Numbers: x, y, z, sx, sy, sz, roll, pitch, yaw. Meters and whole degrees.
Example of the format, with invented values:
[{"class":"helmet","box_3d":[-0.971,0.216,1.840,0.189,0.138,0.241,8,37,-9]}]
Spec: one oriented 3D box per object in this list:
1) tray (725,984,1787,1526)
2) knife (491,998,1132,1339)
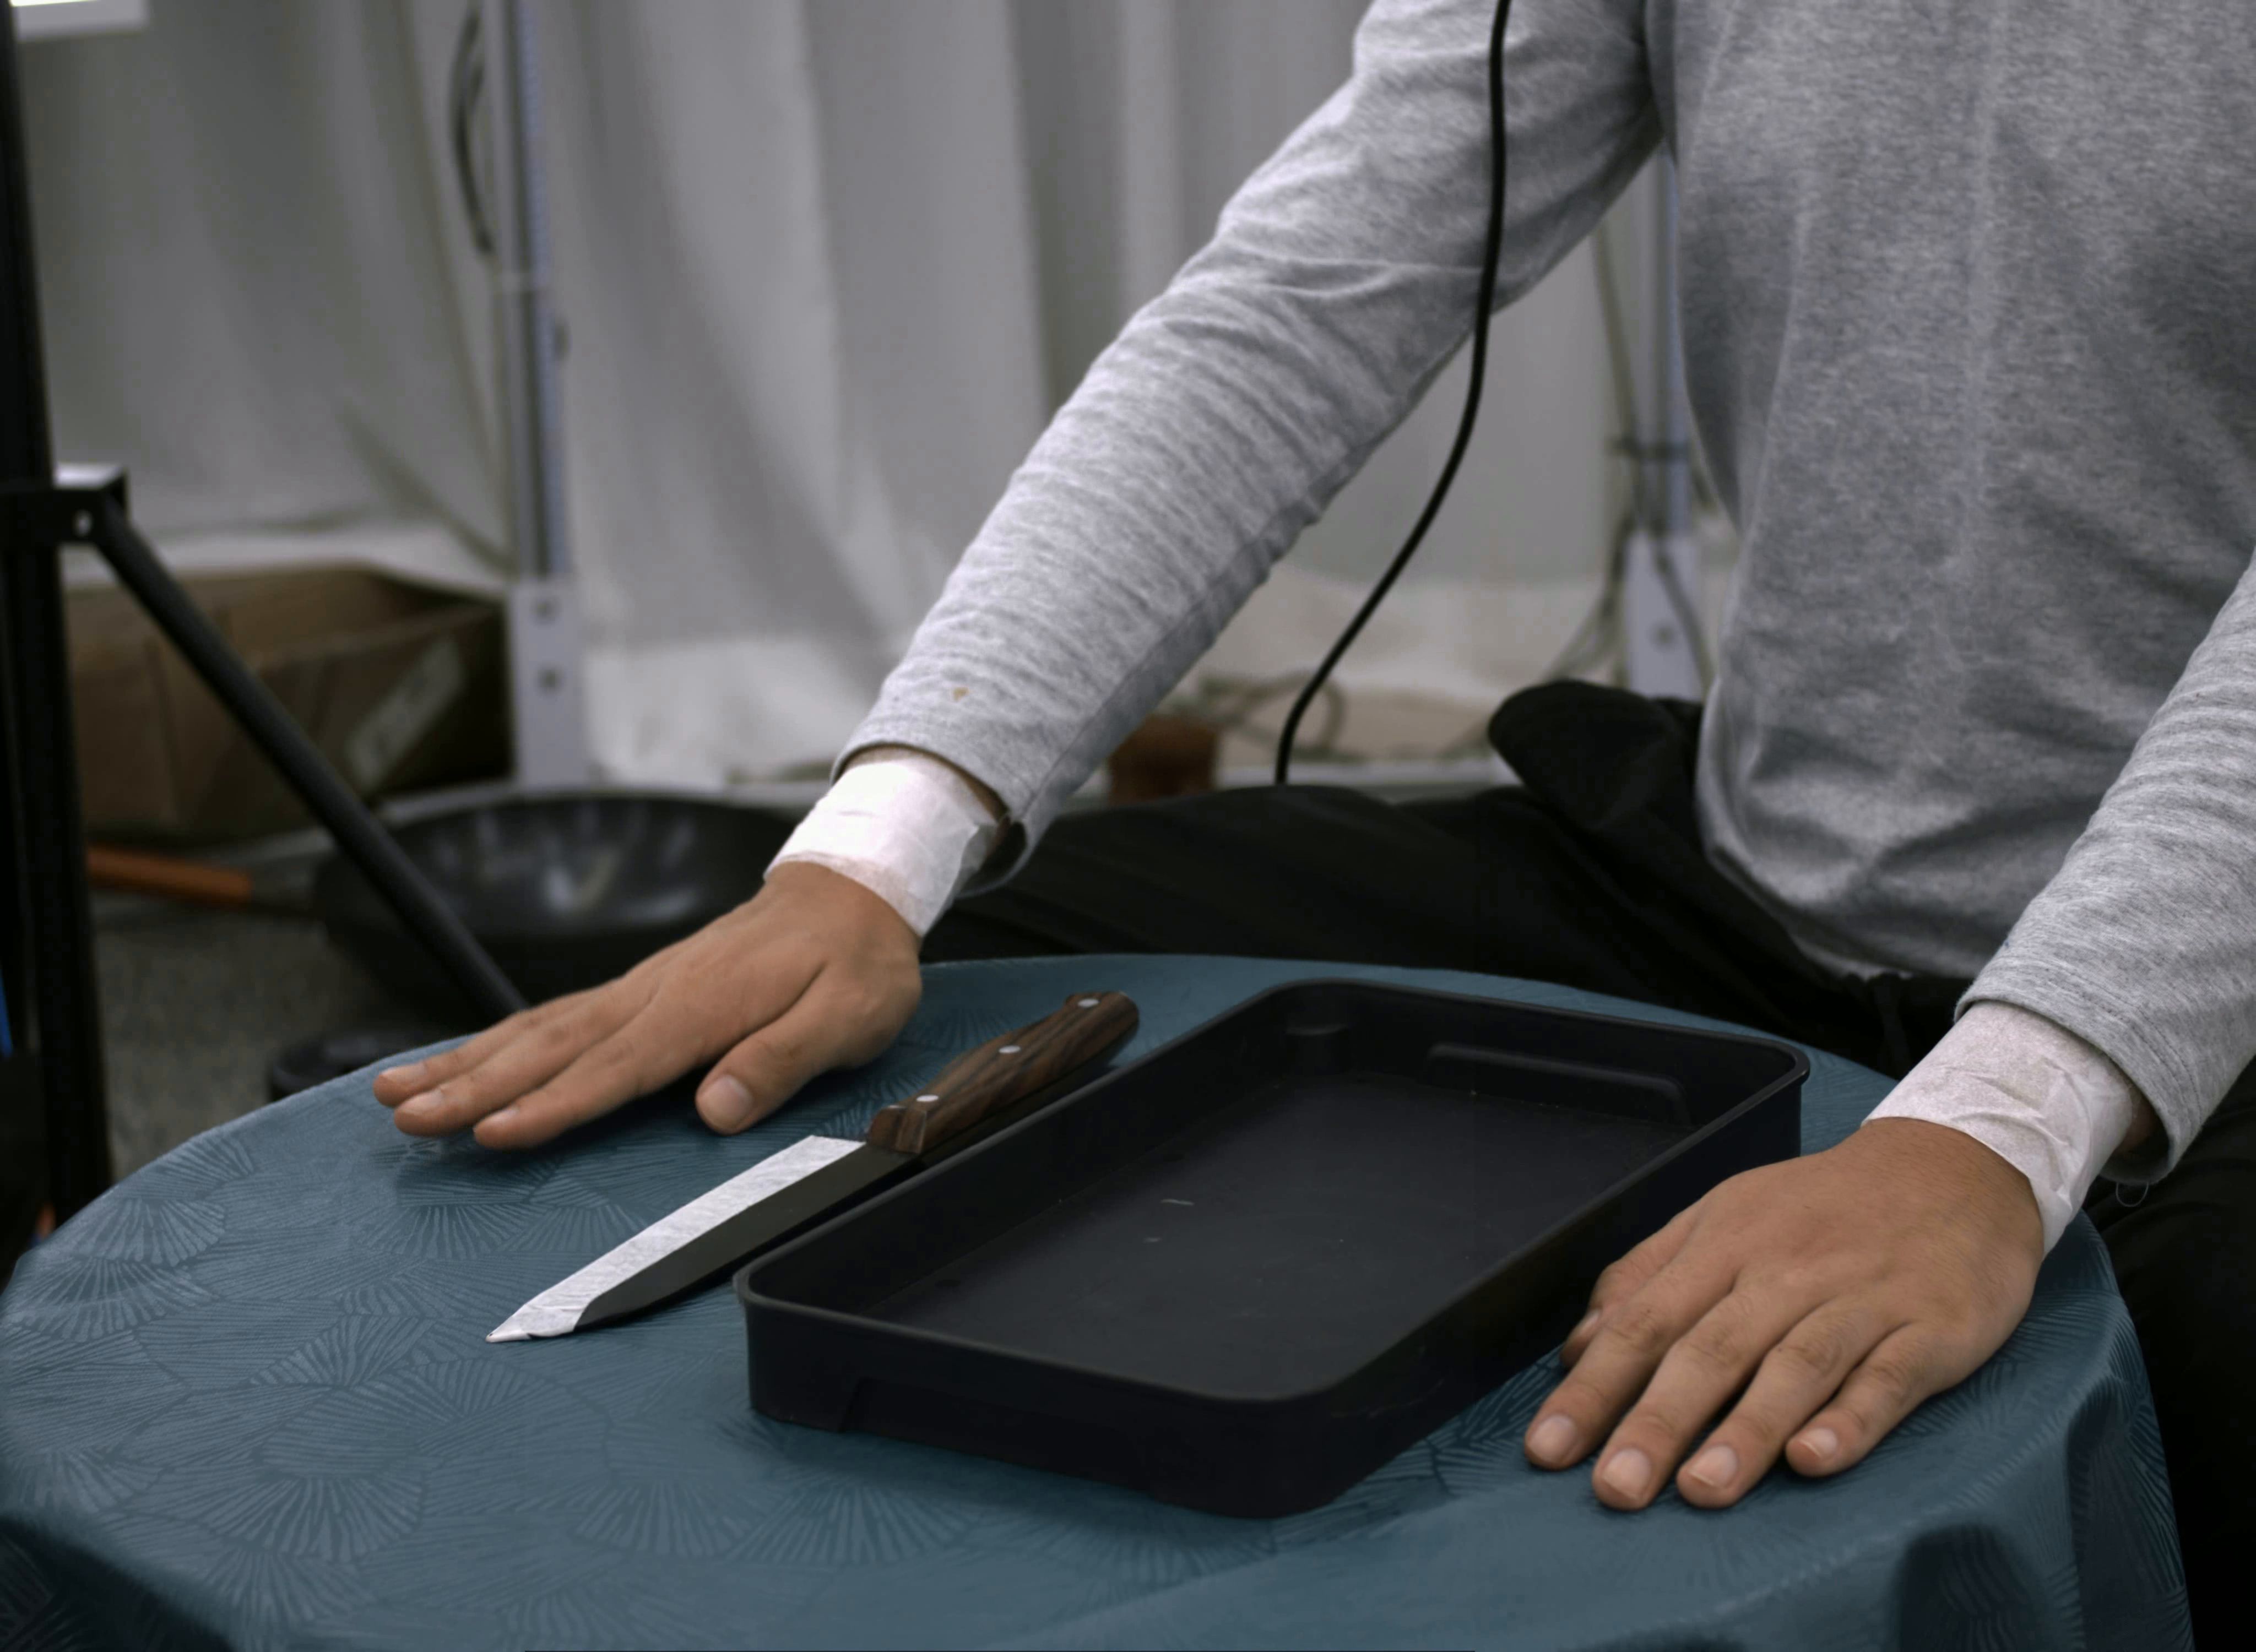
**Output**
[{"class":"tray","box_3d":[0.044,0.112,1.477,0.187,0.037,0.312,7,18,30]},{"class":"knife","box_3d":[-0.088,0.102,1.571,0.051,0.020,0.283,4,19,37]}]
